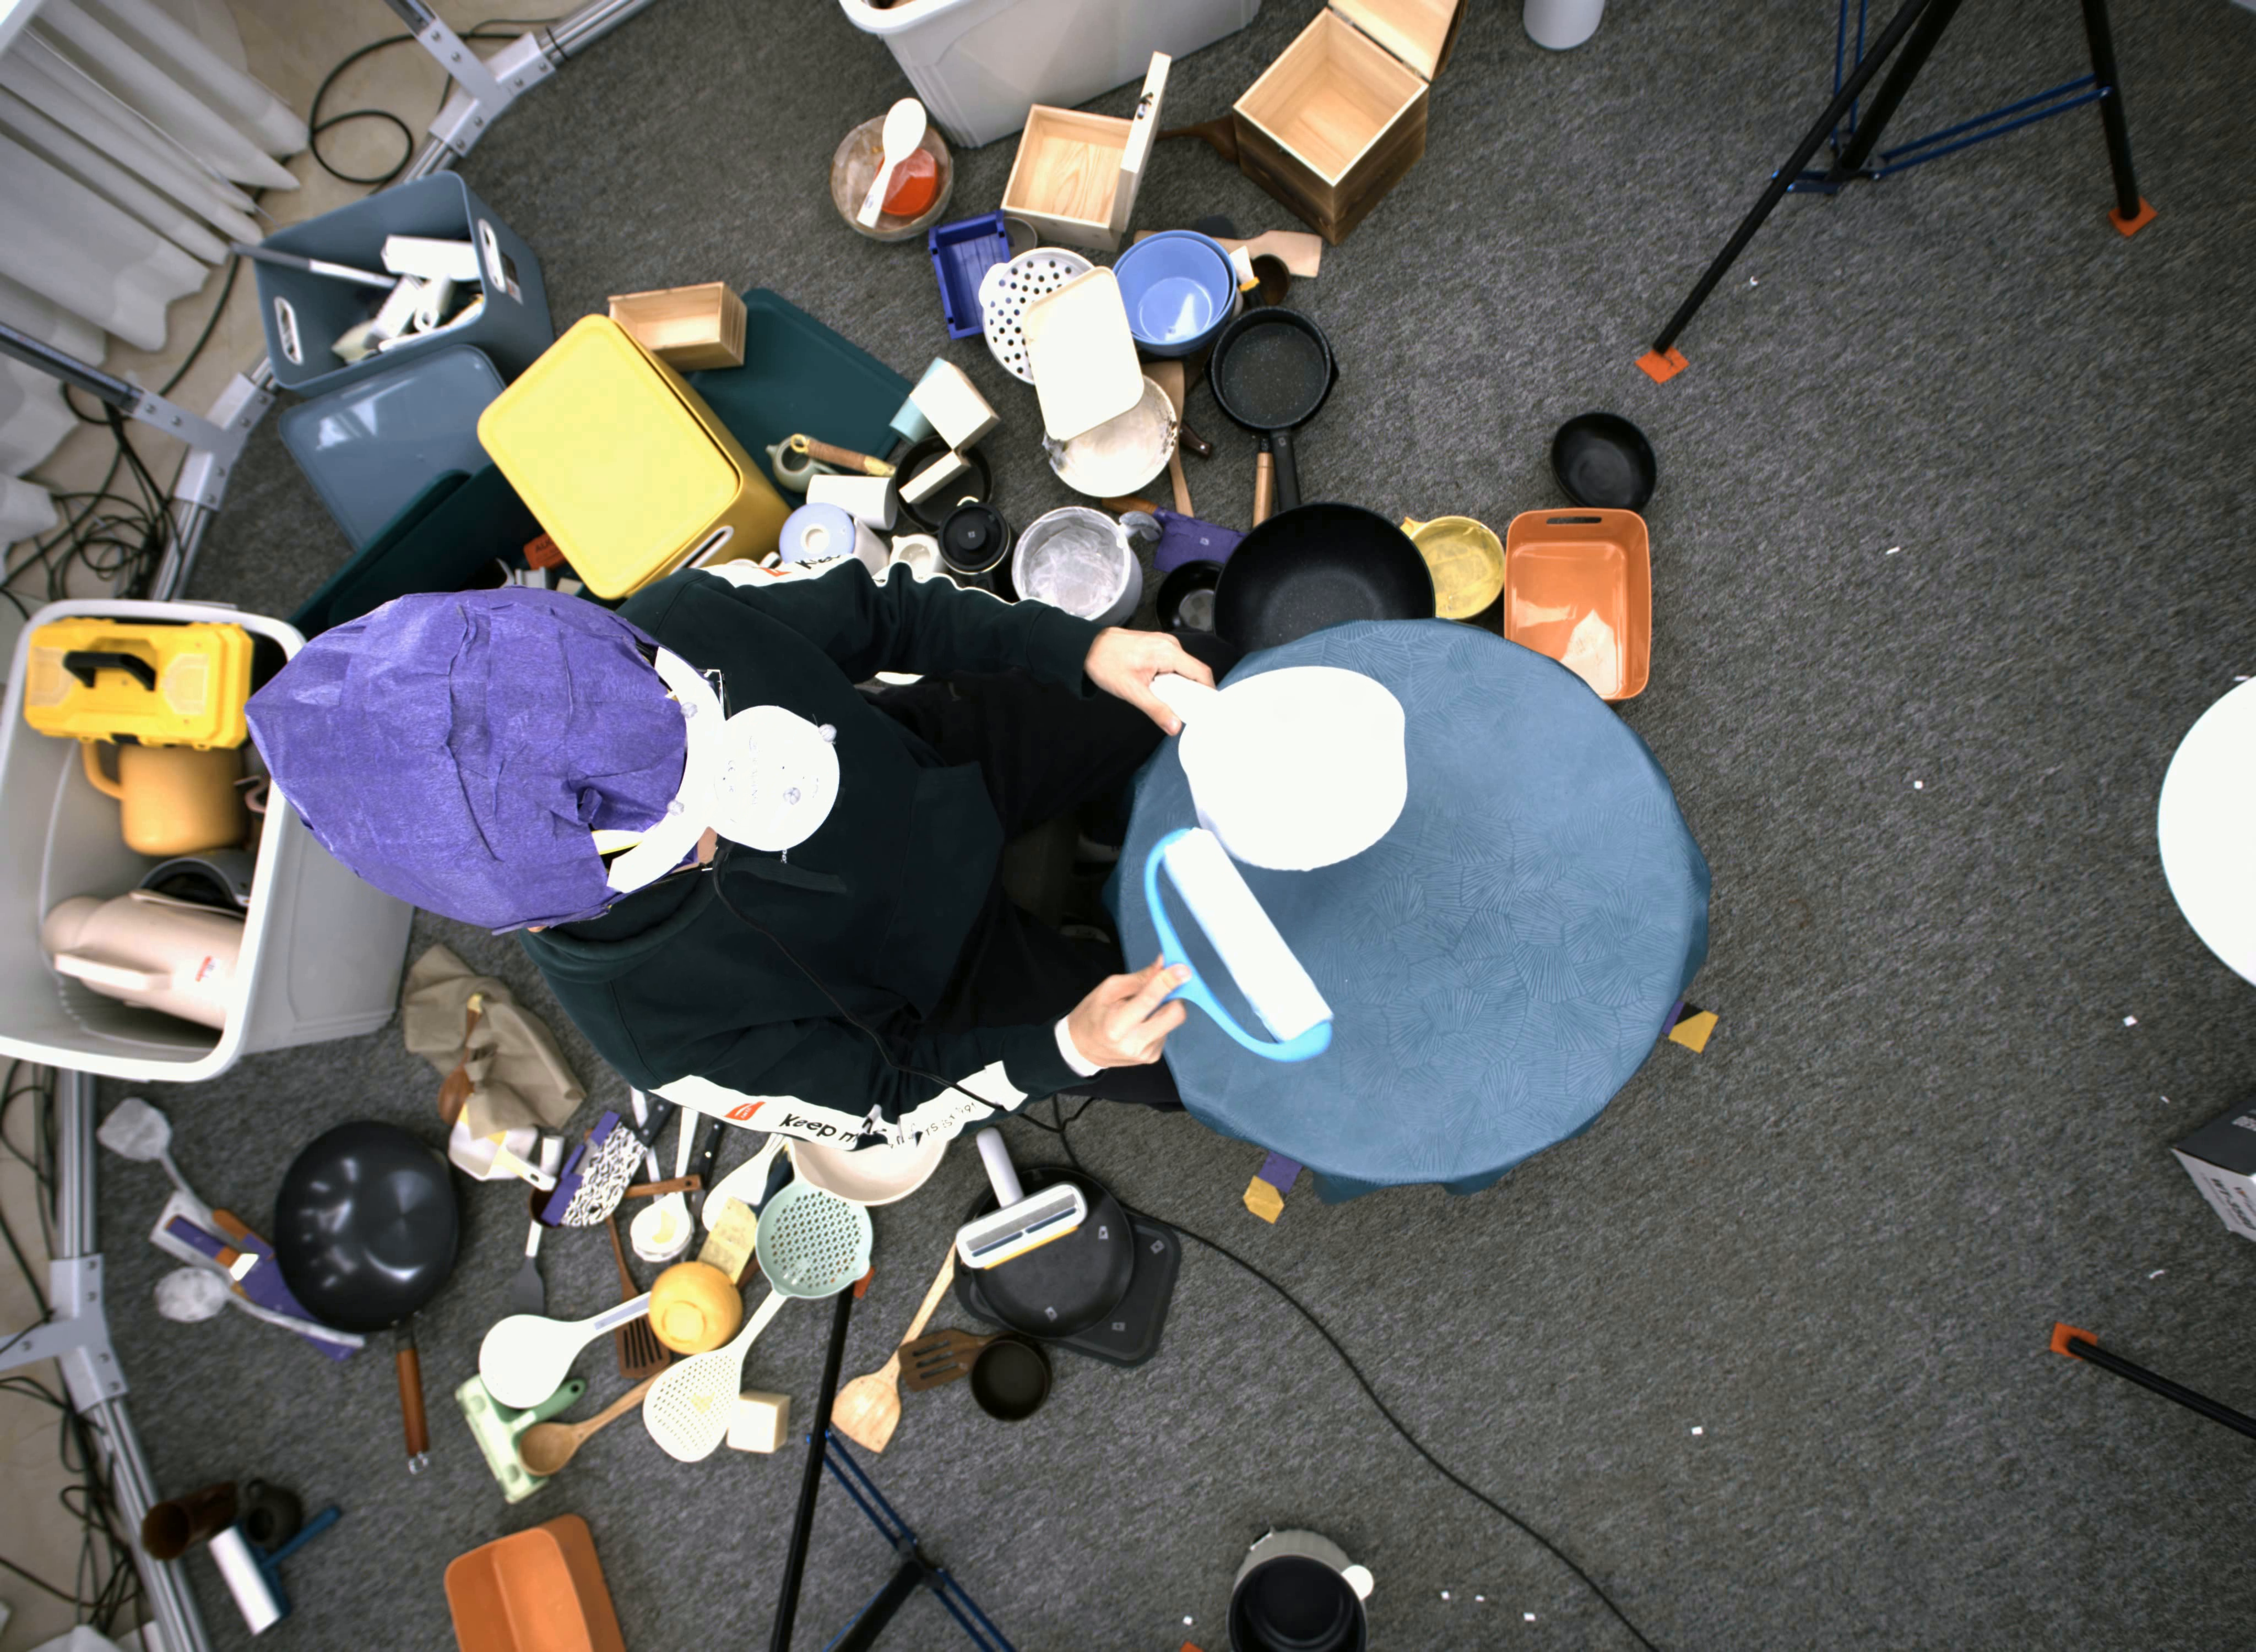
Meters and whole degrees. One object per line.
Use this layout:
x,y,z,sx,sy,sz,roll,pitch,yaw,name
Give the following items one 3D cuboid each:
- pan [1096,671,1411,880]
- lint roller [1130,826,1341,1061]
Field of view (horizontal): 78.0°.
0.105,-0.063,1.301,0.198,0.104,0.353,-41,40,-23,pan
0.061,0.133,1.194,0.183,0.067,0.227,-42,73,20,lint roller
